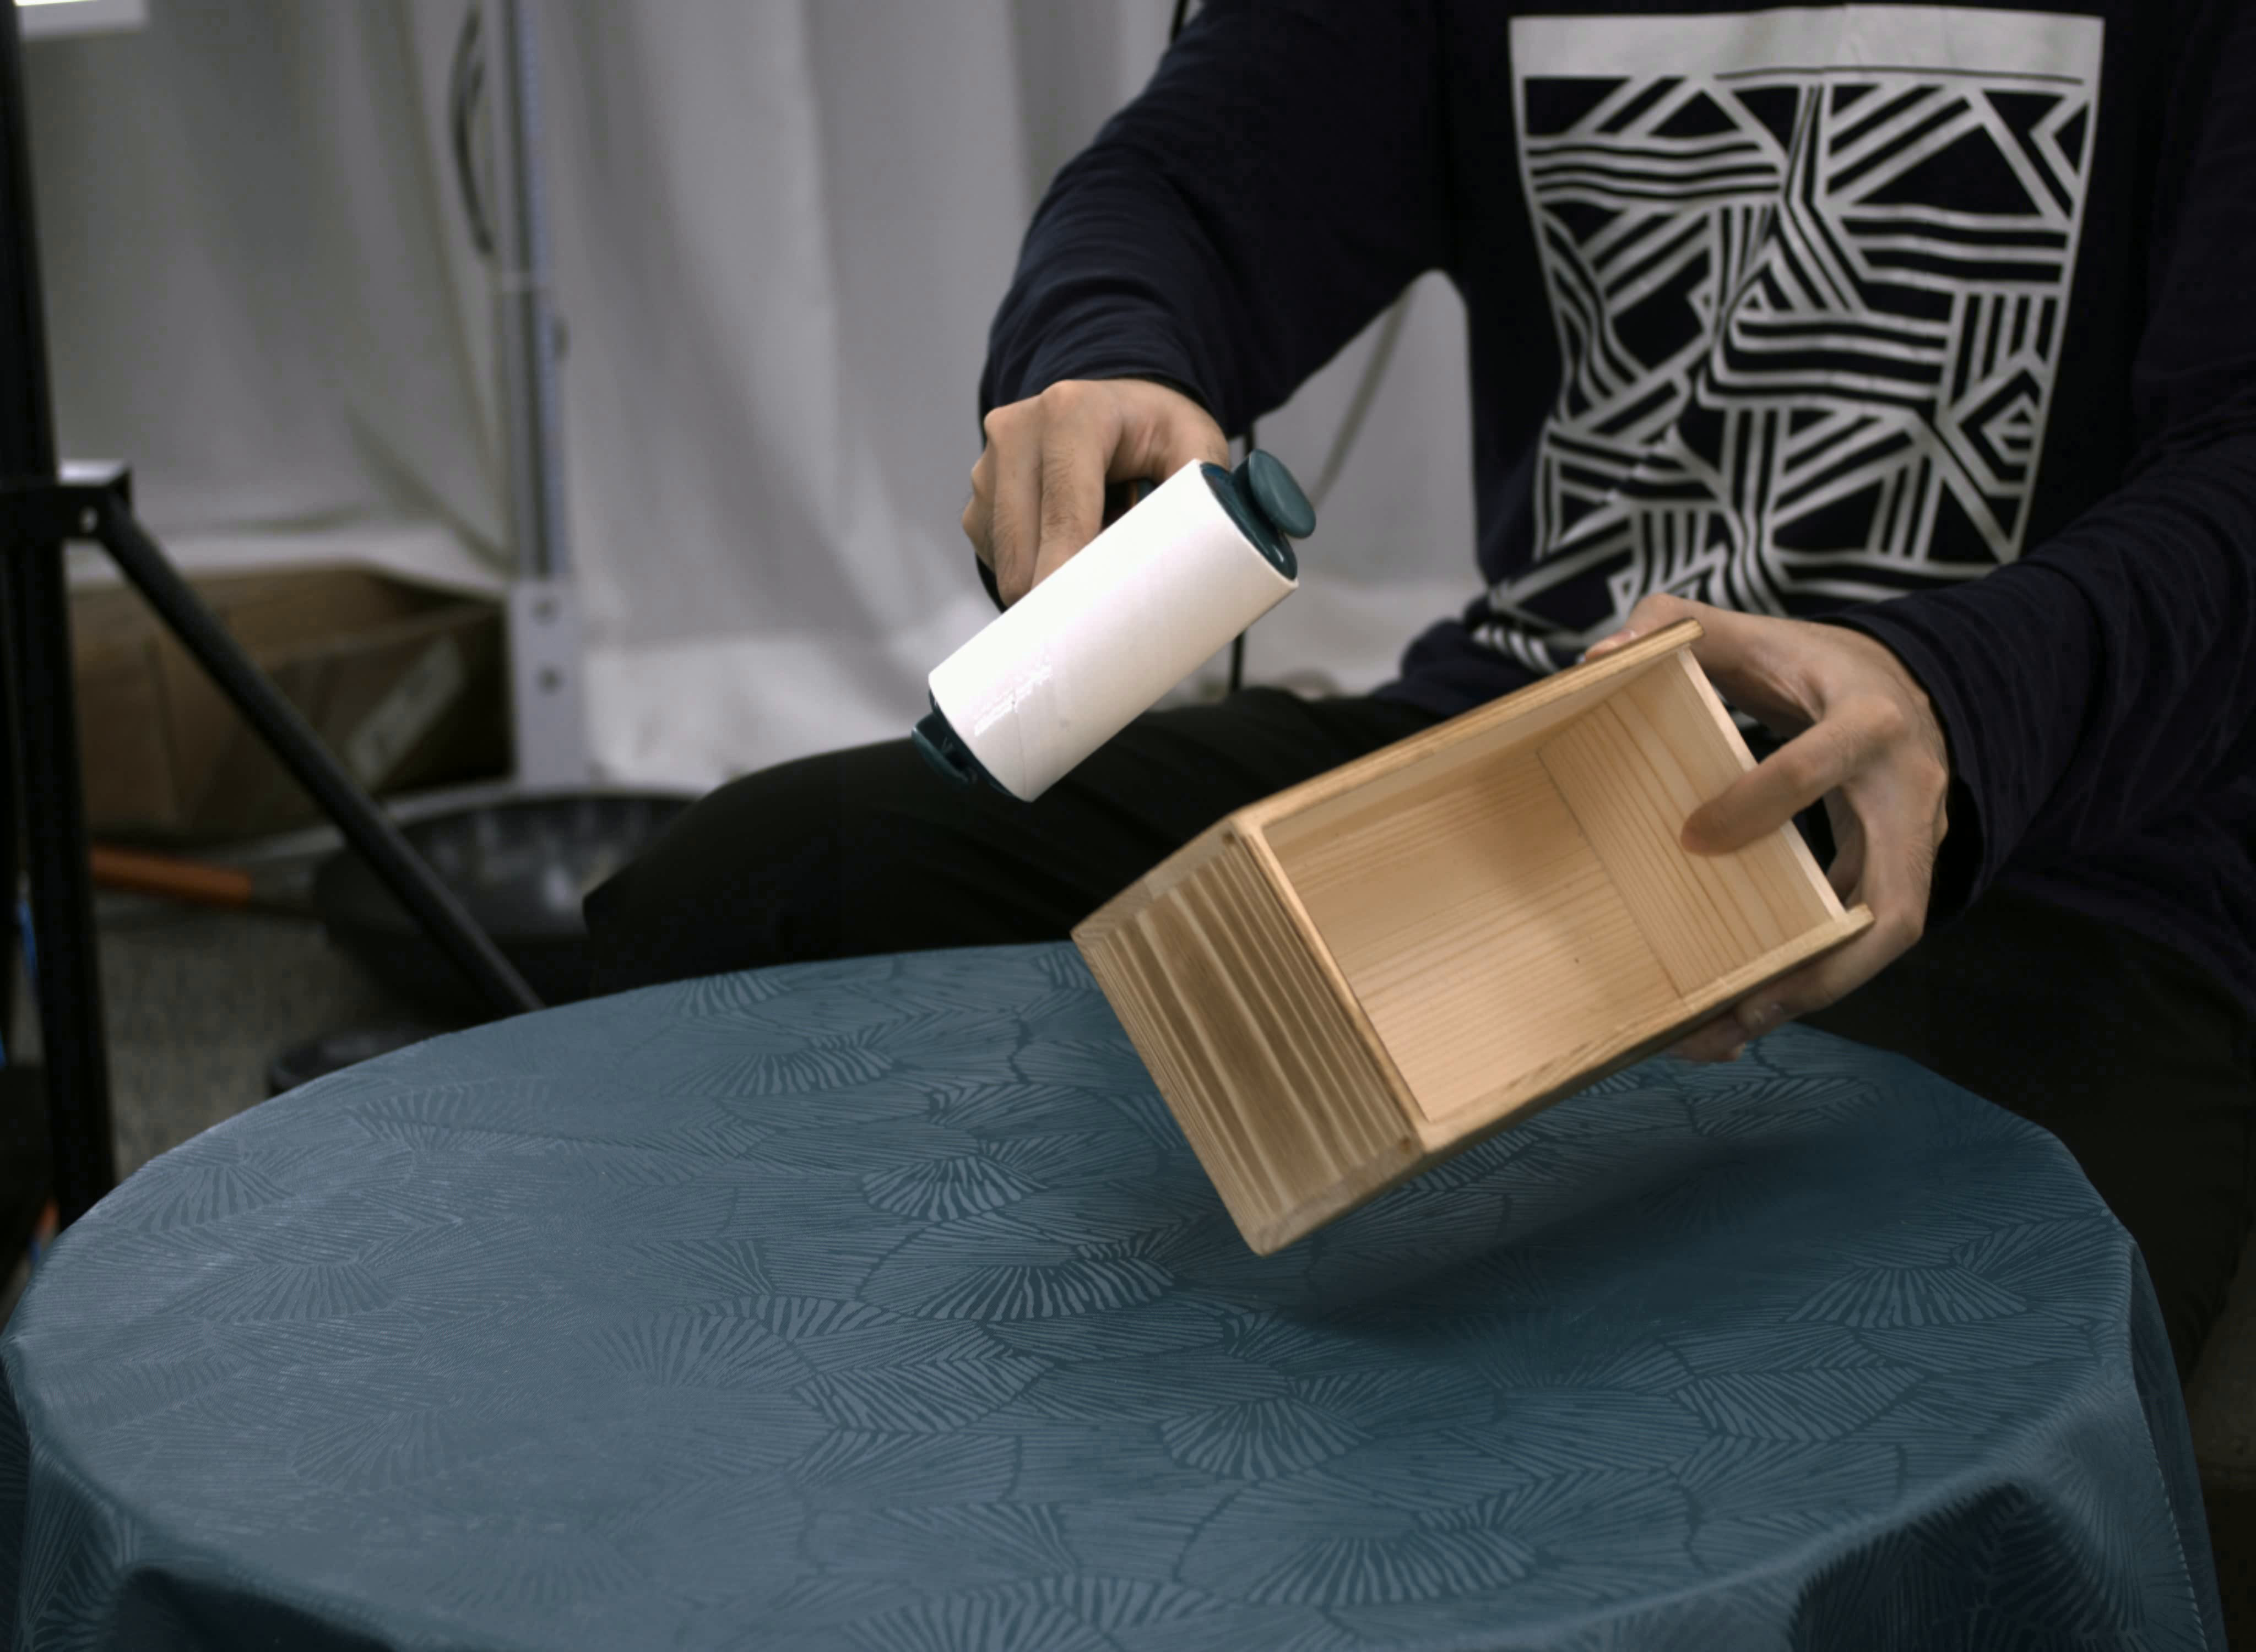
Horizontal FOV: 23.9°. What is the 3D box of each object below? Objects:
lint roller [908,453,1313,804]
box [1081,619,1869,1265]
[{"bbox_3d":[-0.009,-0.079,1.578,0.135,0.048,0.181,-39,19,10],"label":"lint roller"},{"bbox_3d":[0.100,0.030,1.501,0.207,0.108,0.081,-24,-10,-44],"label":"box"}]
